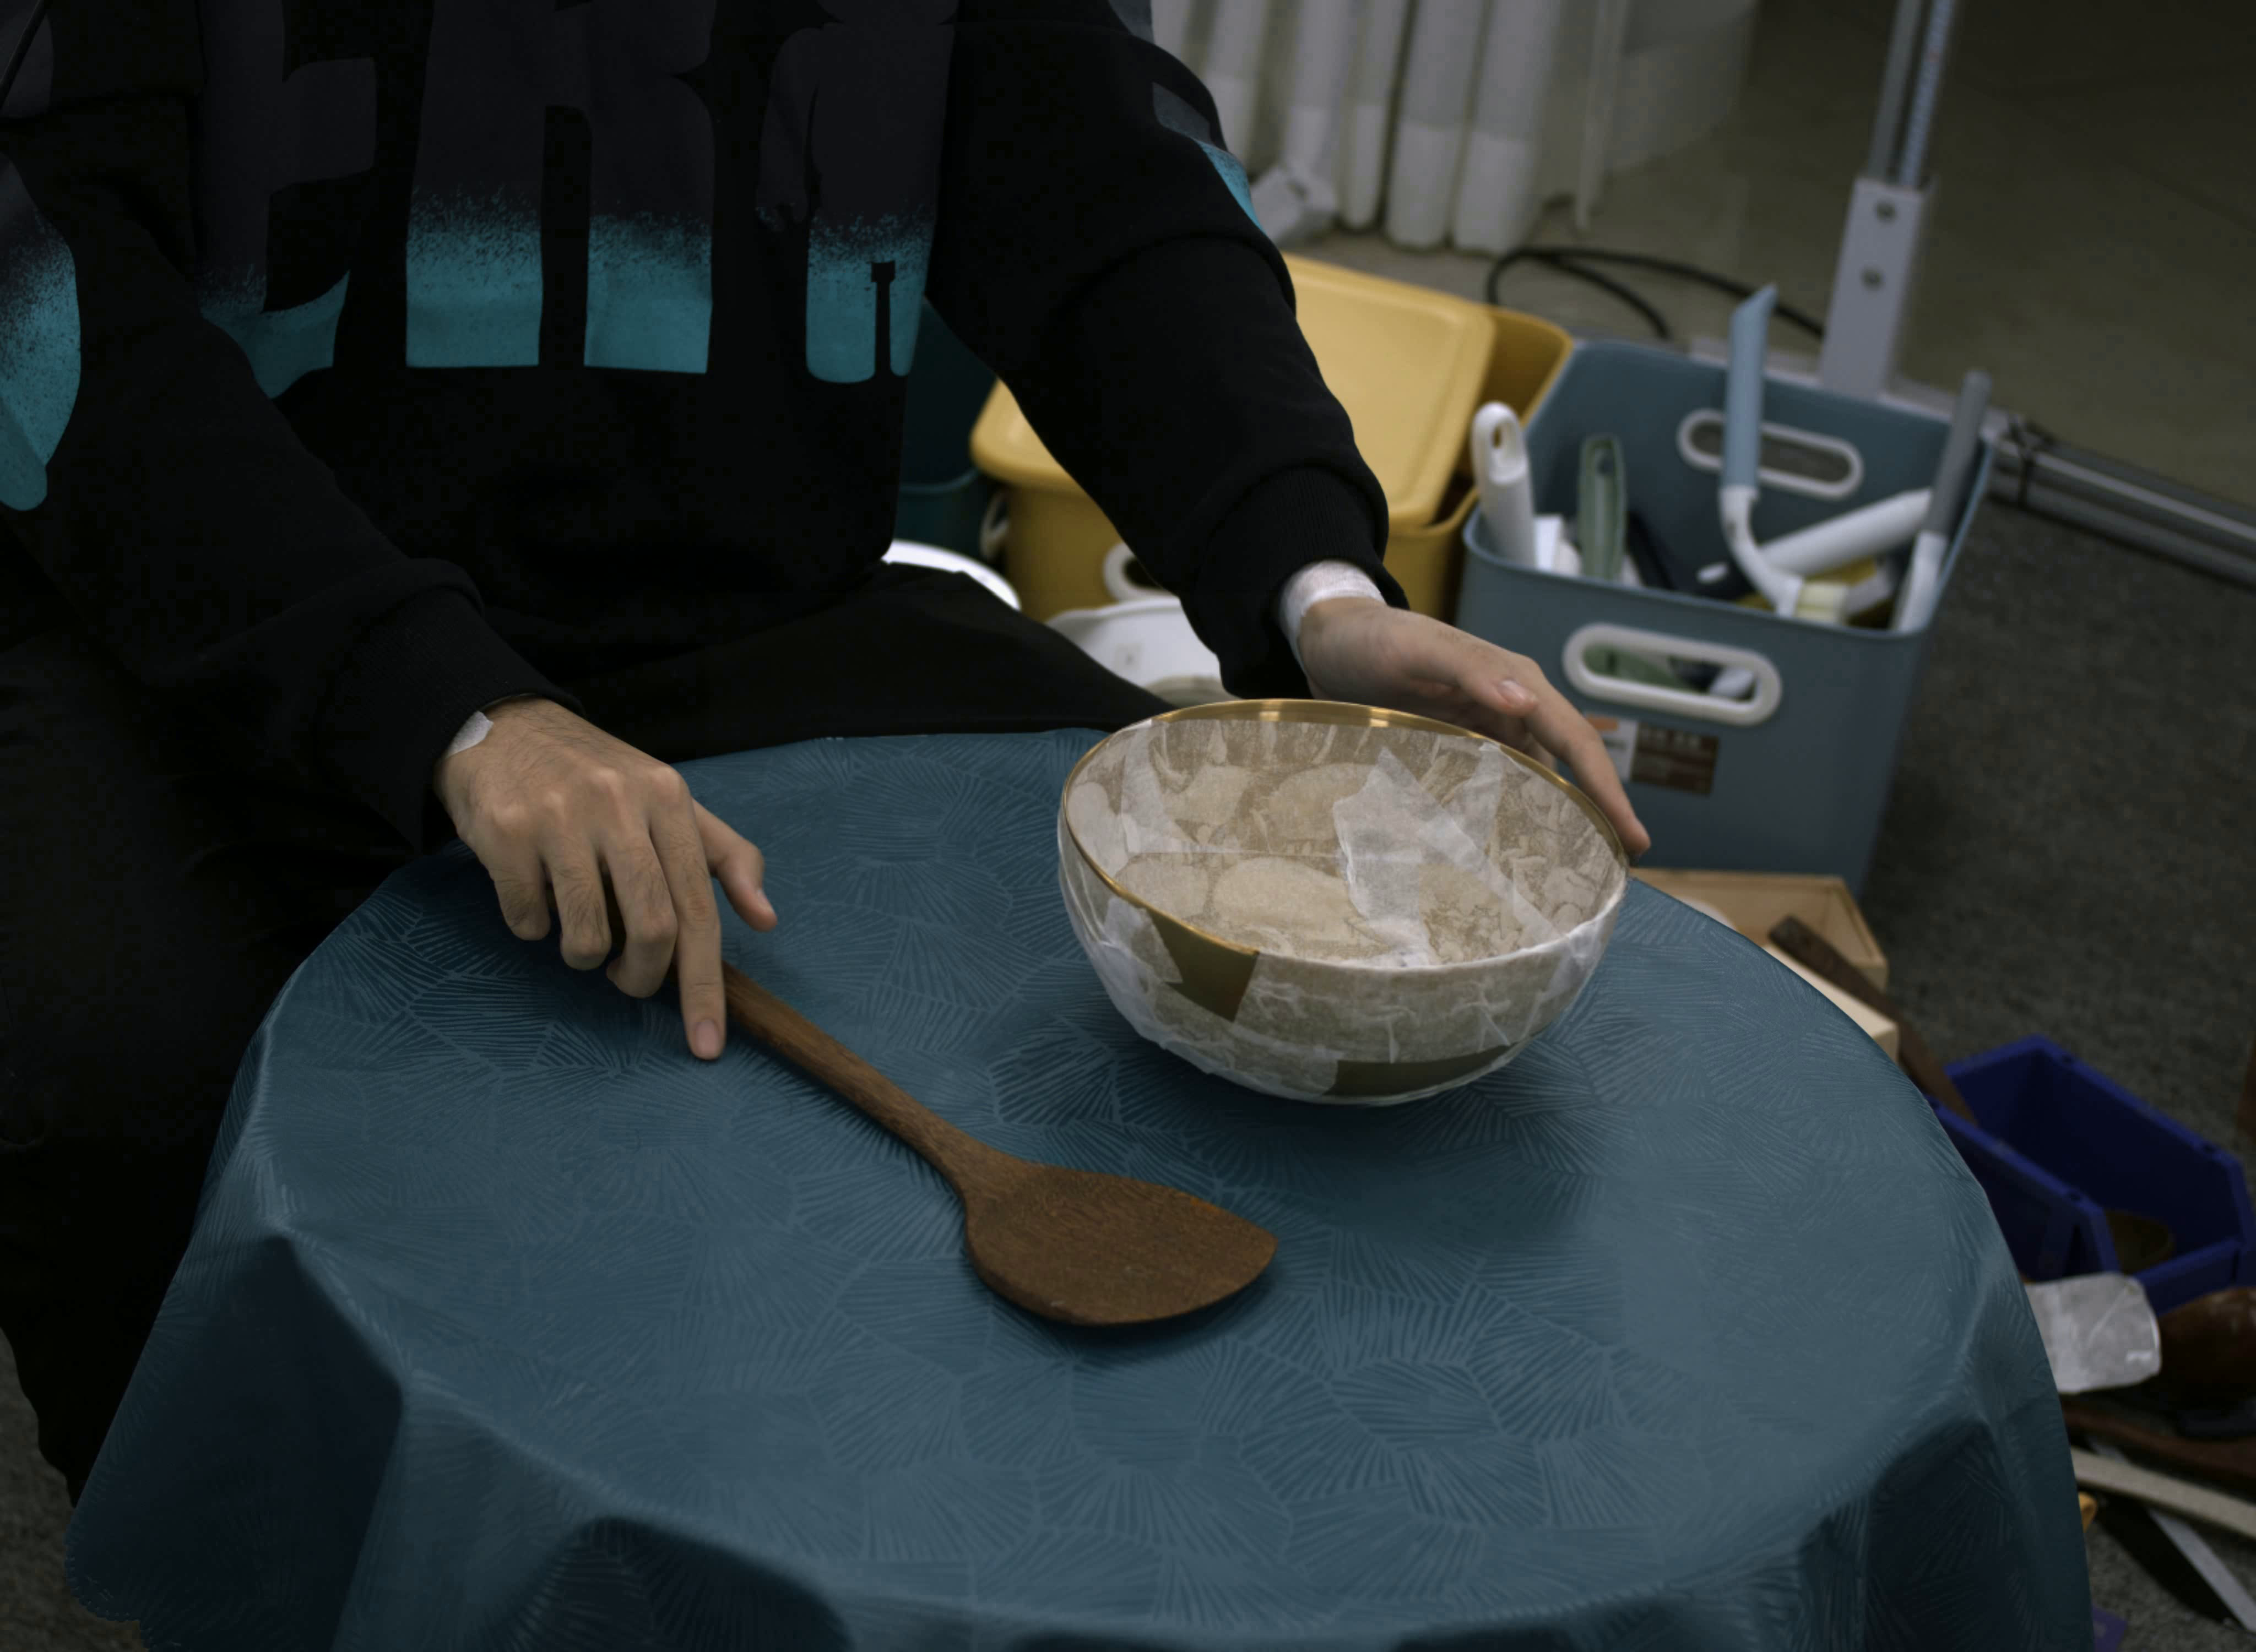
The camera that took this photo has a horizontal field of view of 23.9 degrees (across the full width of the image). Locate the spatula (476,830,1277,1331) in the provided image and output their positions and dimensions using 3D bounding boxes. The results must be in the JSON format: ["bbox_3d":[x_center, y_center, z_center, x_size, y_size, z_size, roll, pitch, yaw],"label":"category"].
[{"bbox_3d":[-0.105,0.080,1.842,0.095,0.016,0.389,-17,36,-40],"label":"spatula"}]

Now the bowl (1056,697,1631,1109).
[{"bbox_3d":[0.072,0.038,1.883,0.214,0.094,0.216,3,26,-2],"label":"bowl"}]
